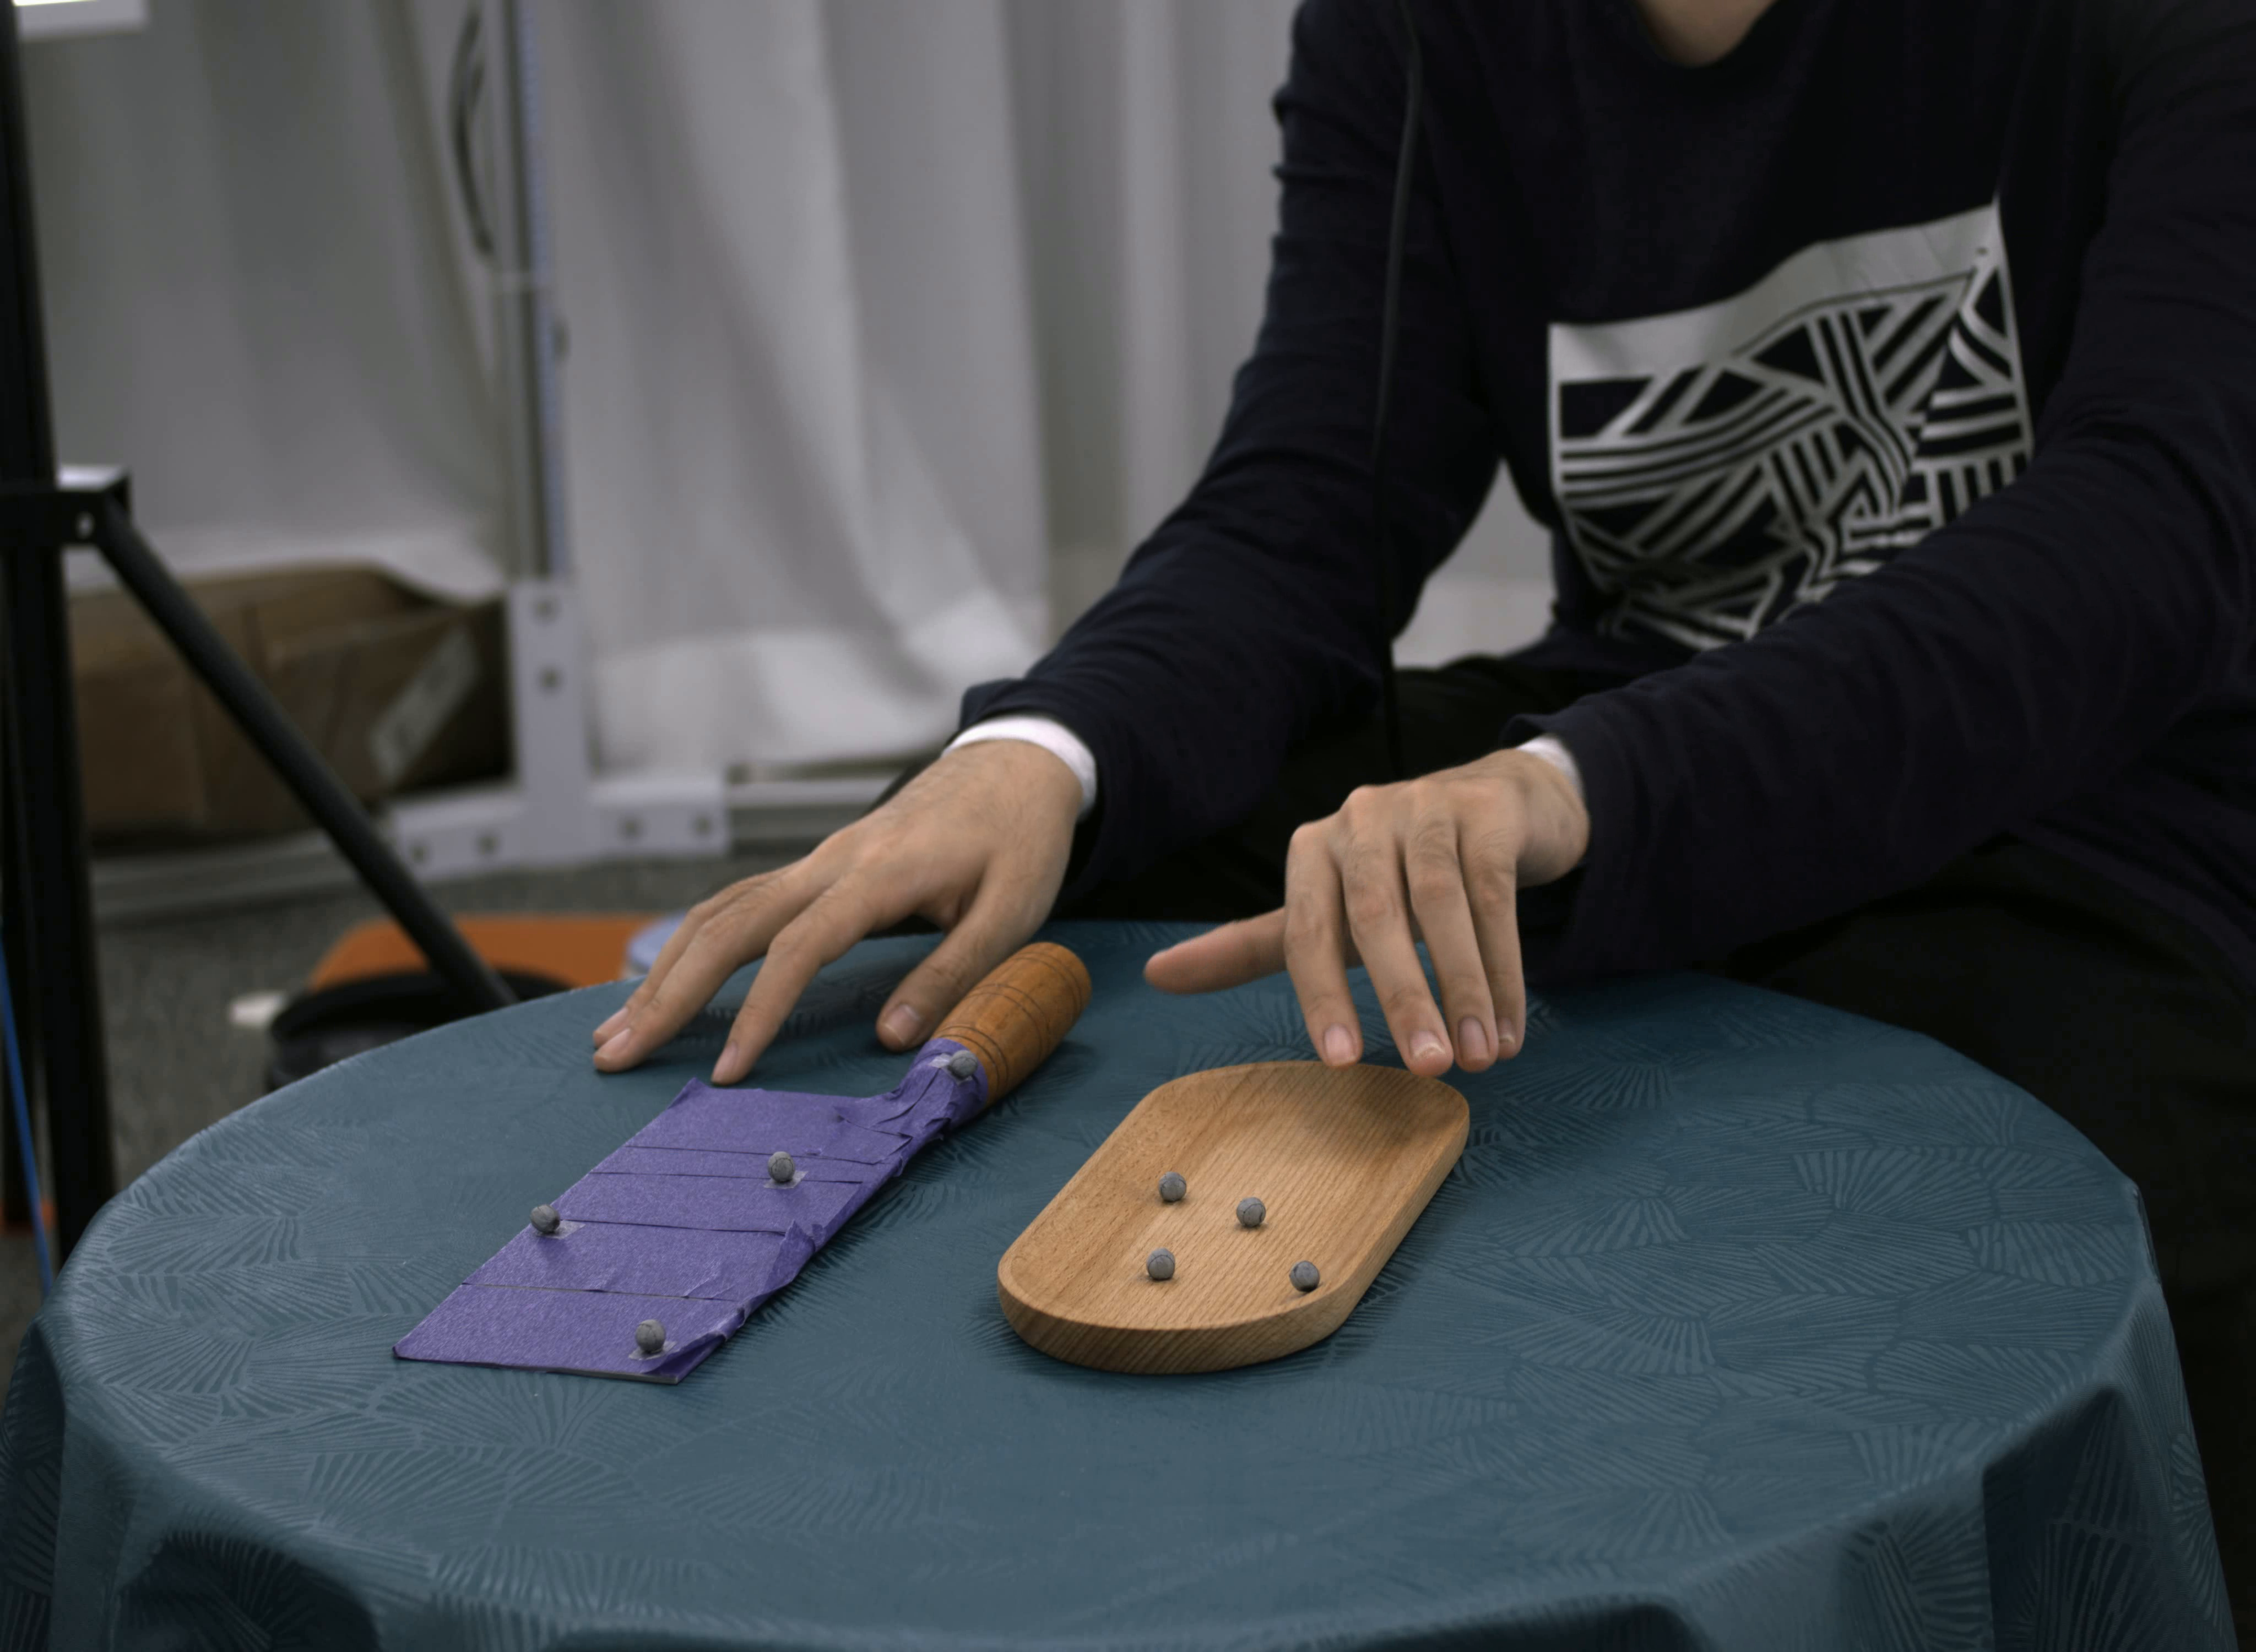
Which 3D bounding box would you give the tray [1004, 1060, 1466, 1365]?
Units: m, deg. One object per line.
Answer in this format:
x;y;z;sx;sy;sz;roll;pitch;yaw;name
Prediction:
0.034;0.109;1.525;0.102;0.020;0.229;3;15;15;tray

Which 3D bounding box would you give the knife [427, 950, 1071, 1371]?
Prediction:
-0.108;0.095;1.576;0.105;0.032;0.312;3;17;19;knife
